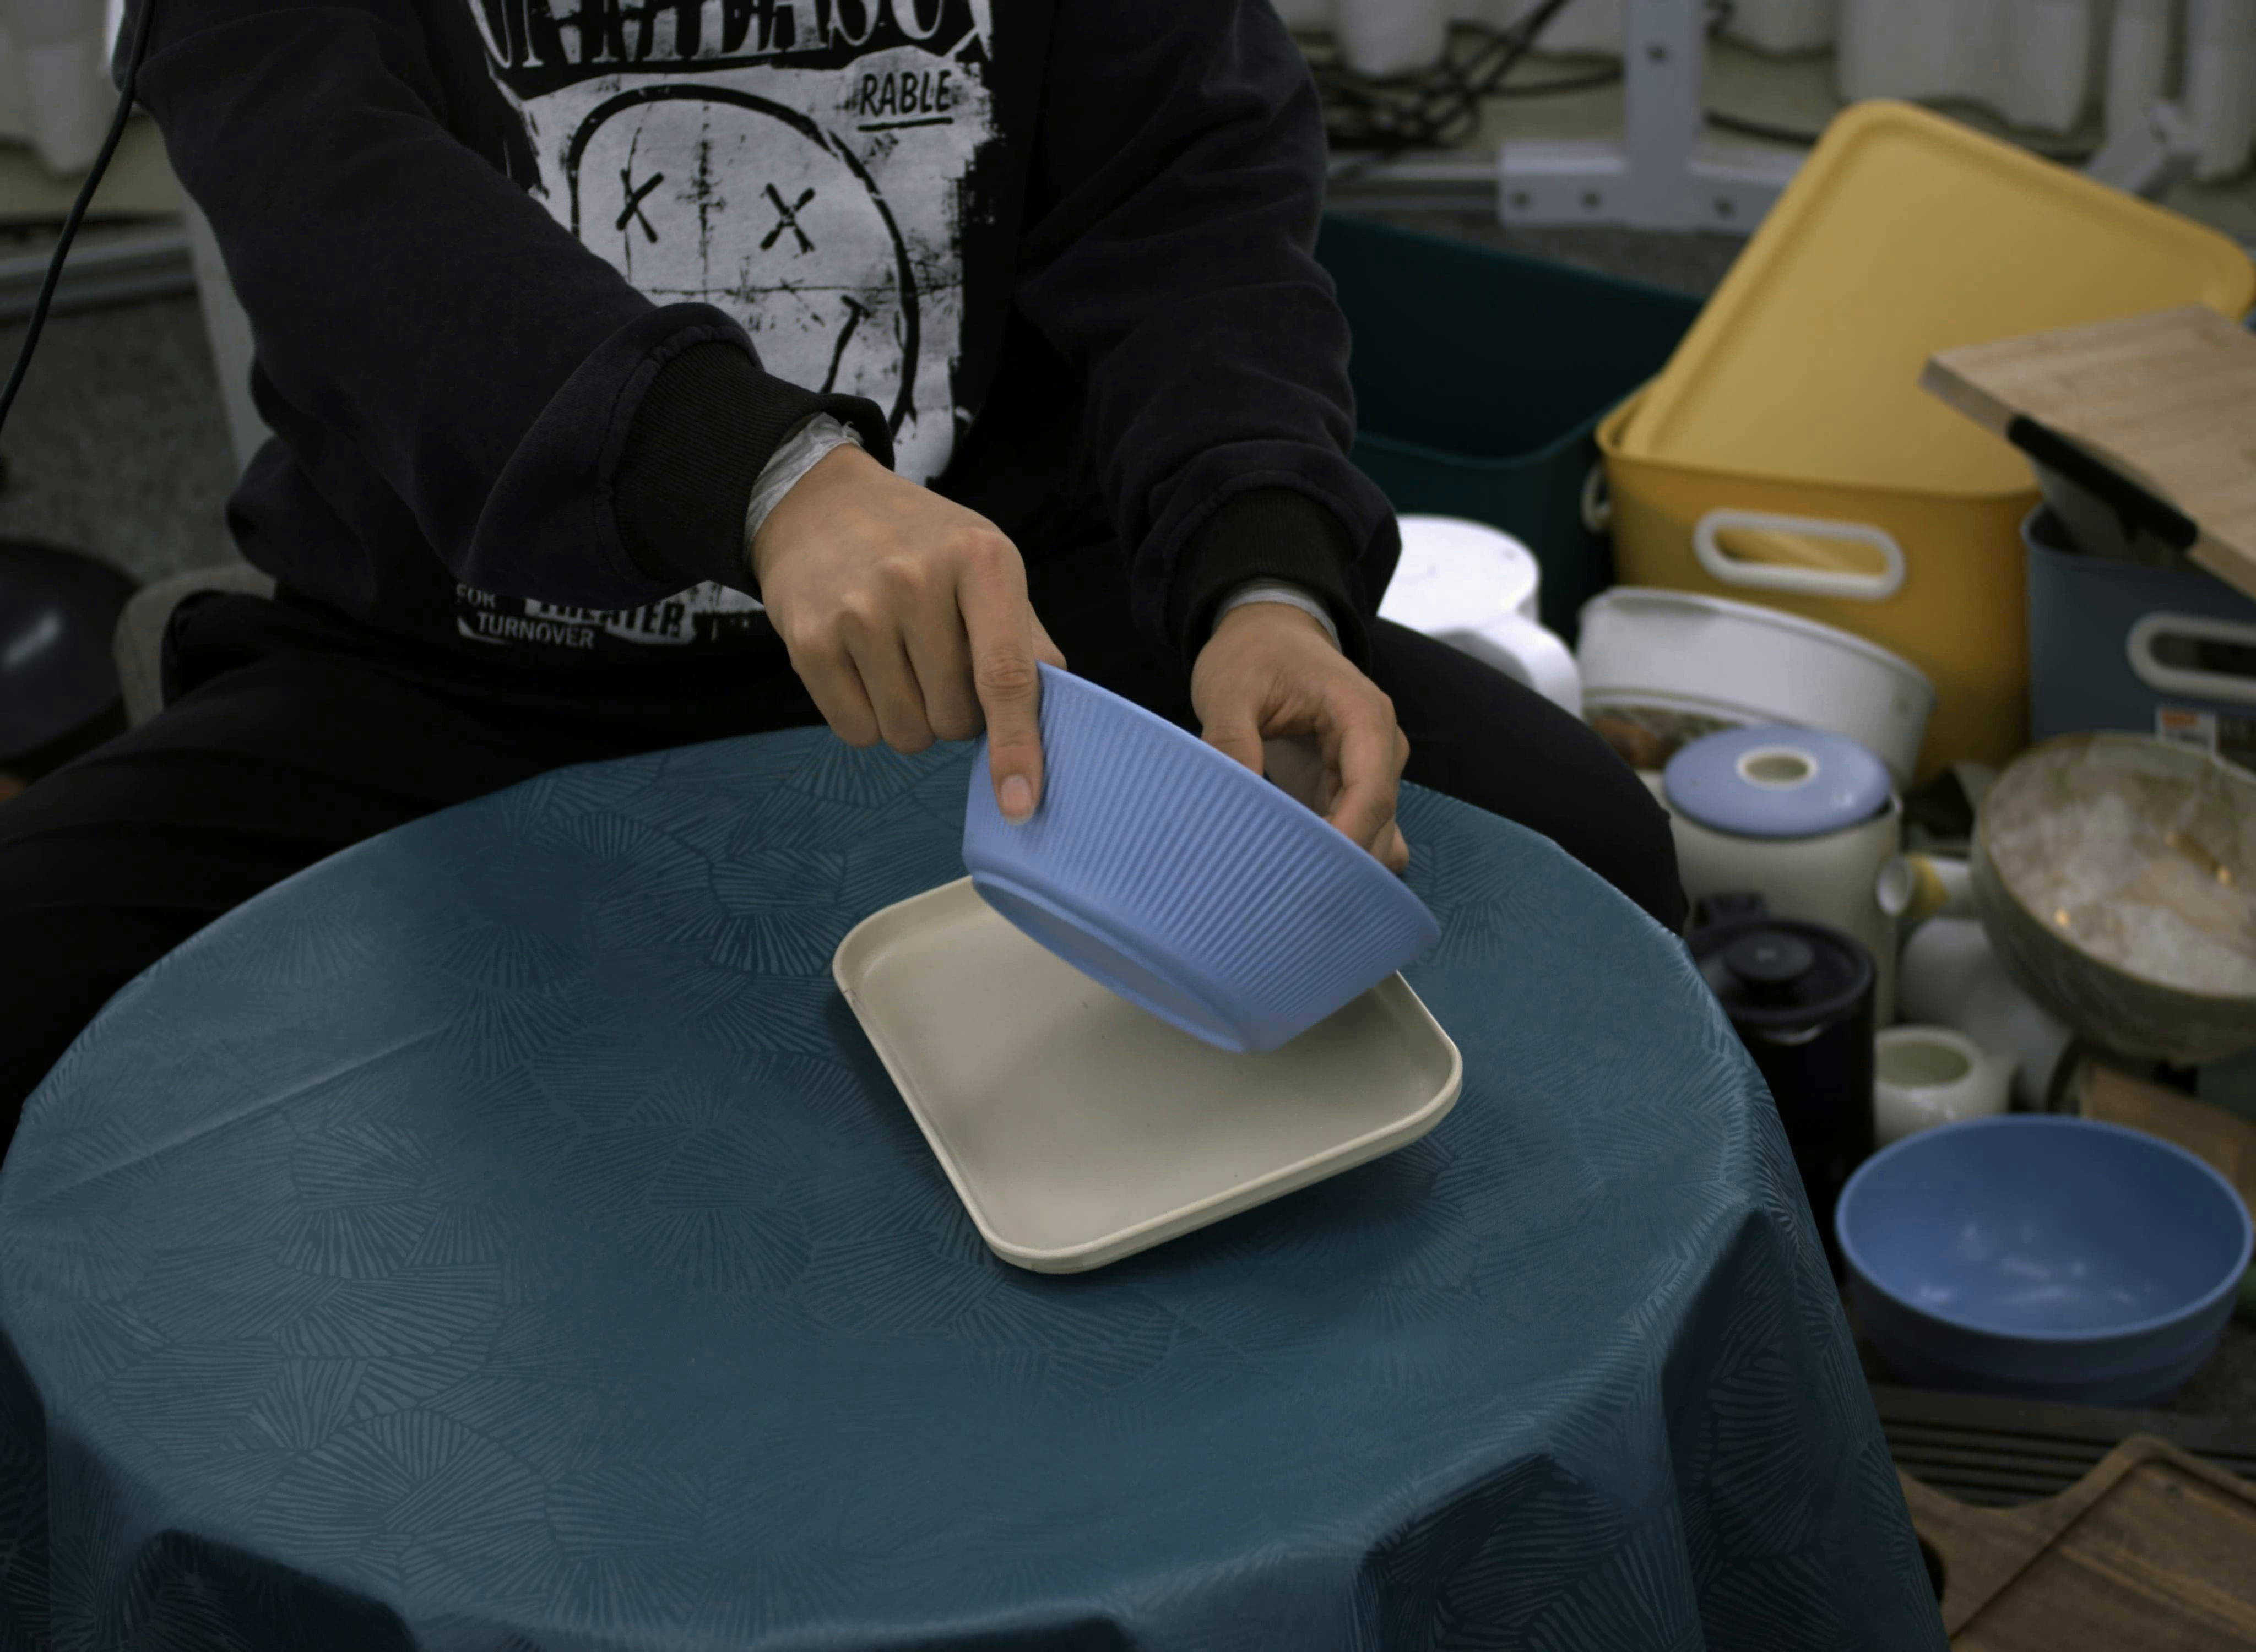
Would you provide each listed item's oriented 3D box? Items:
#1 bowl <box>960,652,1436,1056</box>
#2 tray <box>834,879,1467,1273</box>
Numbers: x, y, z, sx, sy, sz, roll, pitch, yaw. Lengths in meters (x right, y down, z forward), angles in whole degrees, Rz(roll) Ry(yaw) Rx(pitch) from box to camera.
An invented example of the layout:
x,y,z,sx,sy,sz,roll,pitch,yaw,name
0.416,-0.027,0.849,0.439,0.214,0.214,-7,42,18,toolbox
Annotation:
x,y,z,sx,sy,sz,roll,pitch,yaw,name
0.011,0.018,1.851,0.176,0.175,0.071,24,77,41,bowl
0.005,0.069,1.913,0.171,0.017,0.242,-20,31,-10,tray
